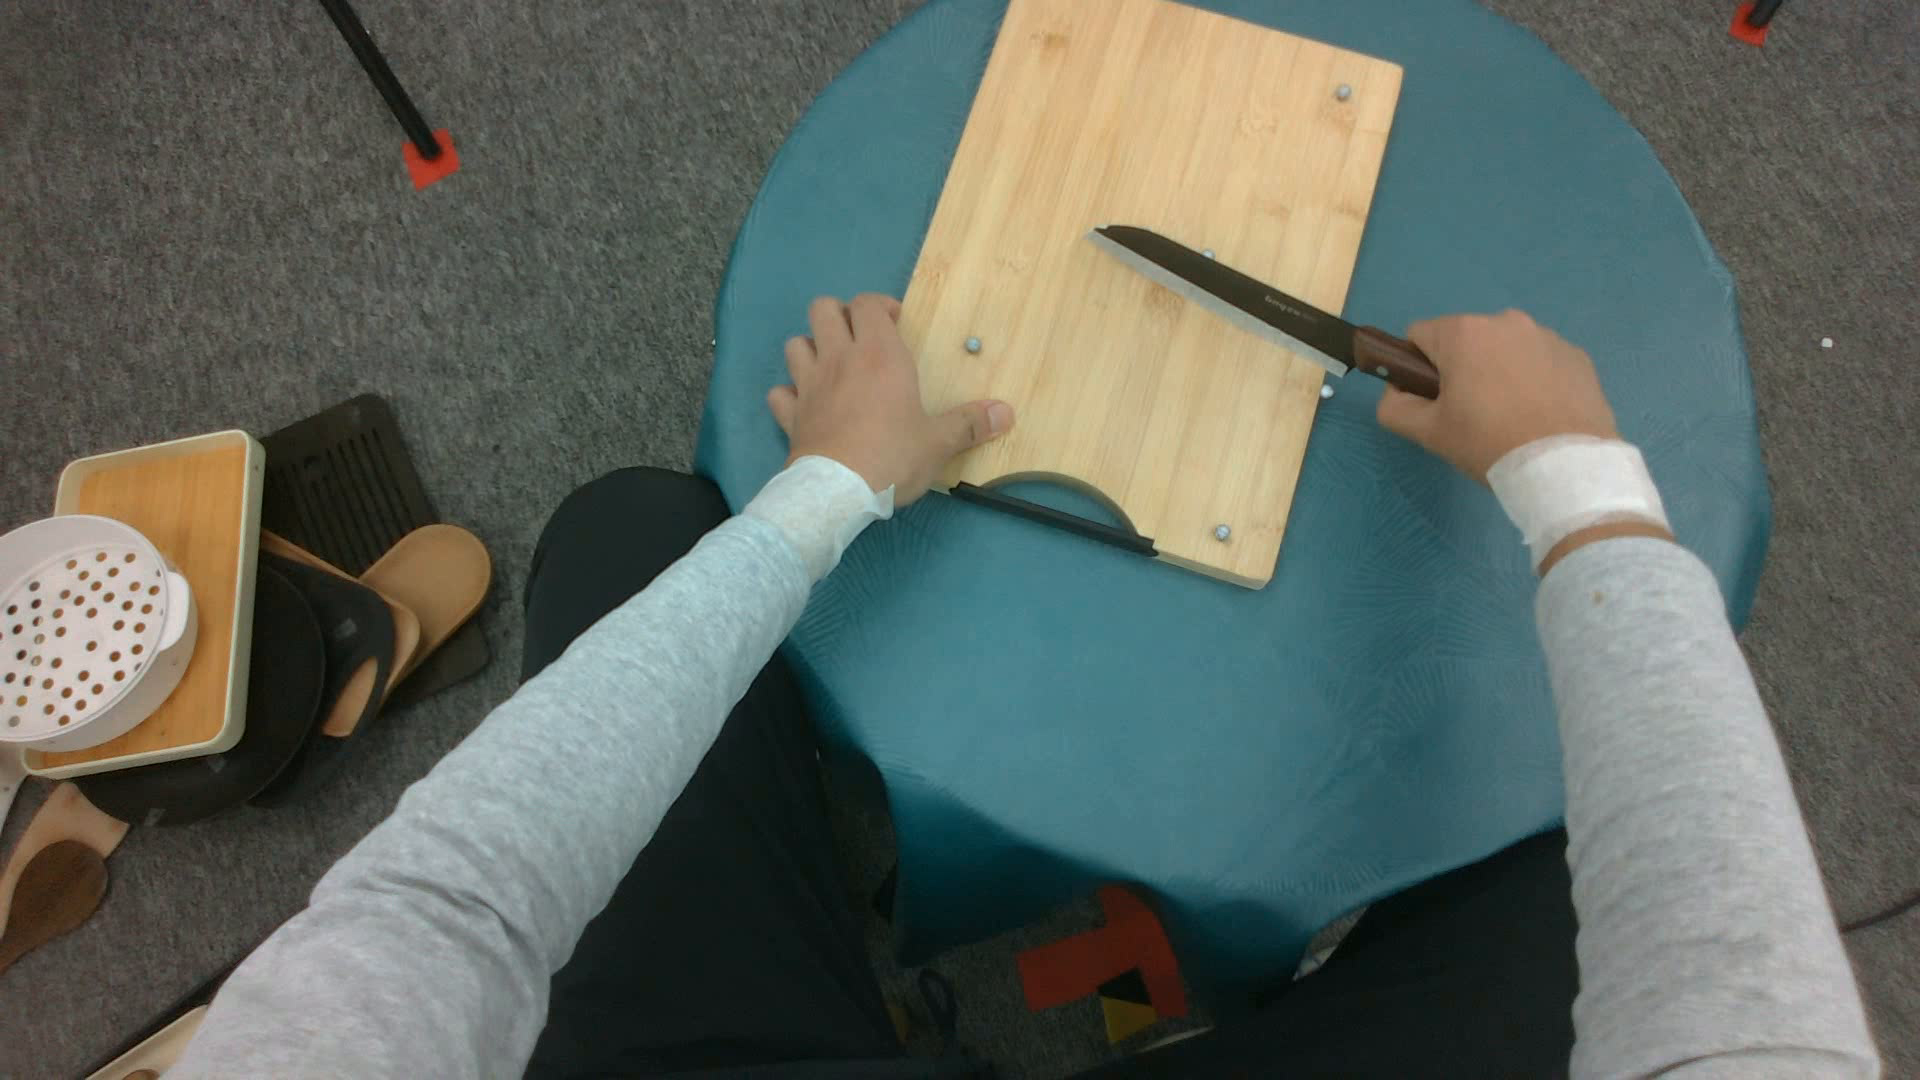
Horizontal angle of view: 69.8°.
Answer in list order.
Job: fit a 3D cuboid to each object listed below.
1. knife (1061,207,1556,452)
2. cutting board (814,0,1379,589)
[{"bbox_3d":[0.181,-0.119,0.748,0.289,0.050,0.020,28,63,14],"label":"knife"},{"bbox_3d":[0.088,-0.166,0.800,0.250,0.023,0.349,16,73,3],"label":"cutting board"}]
